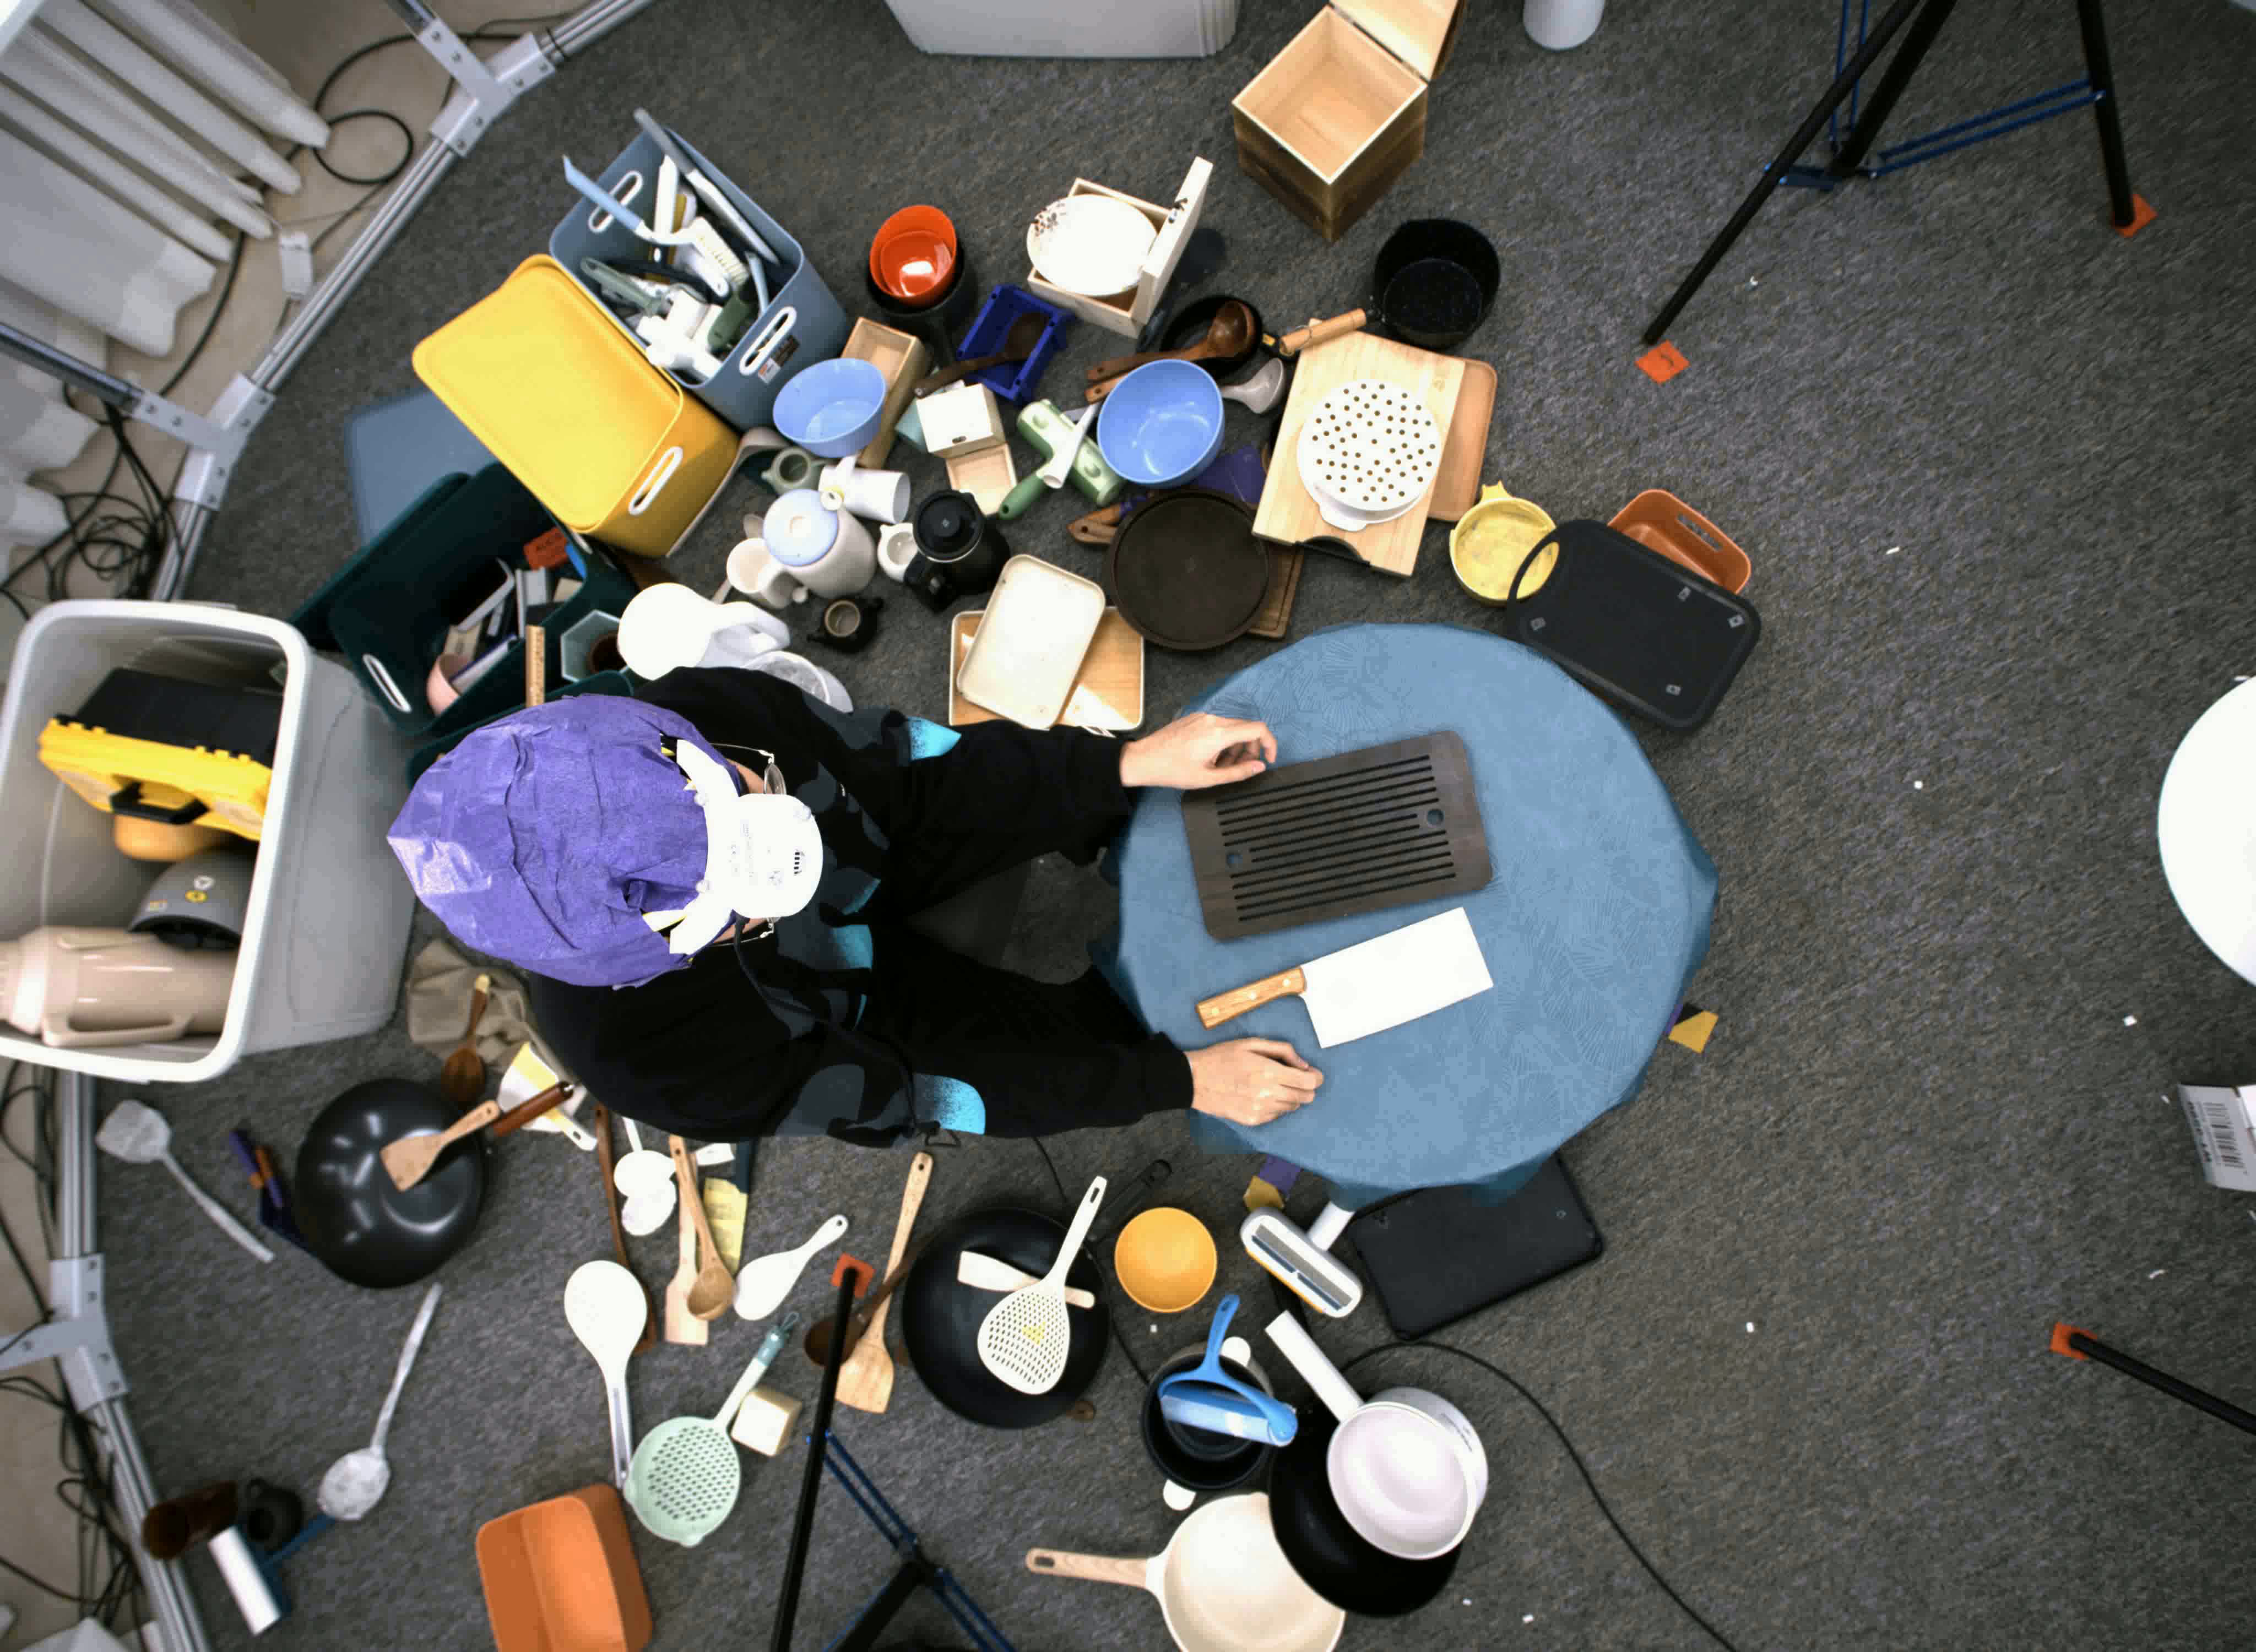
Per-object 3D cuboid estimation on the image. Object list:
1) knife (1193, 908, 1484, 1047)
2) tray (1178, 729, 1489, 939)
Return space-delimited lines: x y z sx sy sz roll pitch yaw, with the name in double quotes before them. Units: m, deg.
"knife" 0.223 0.176 1.455 0.307 0.021 0.092 -21 85 6
"tray" 0.216 0.008 1.464 0.307 0.018 0.169 -12 85 10
